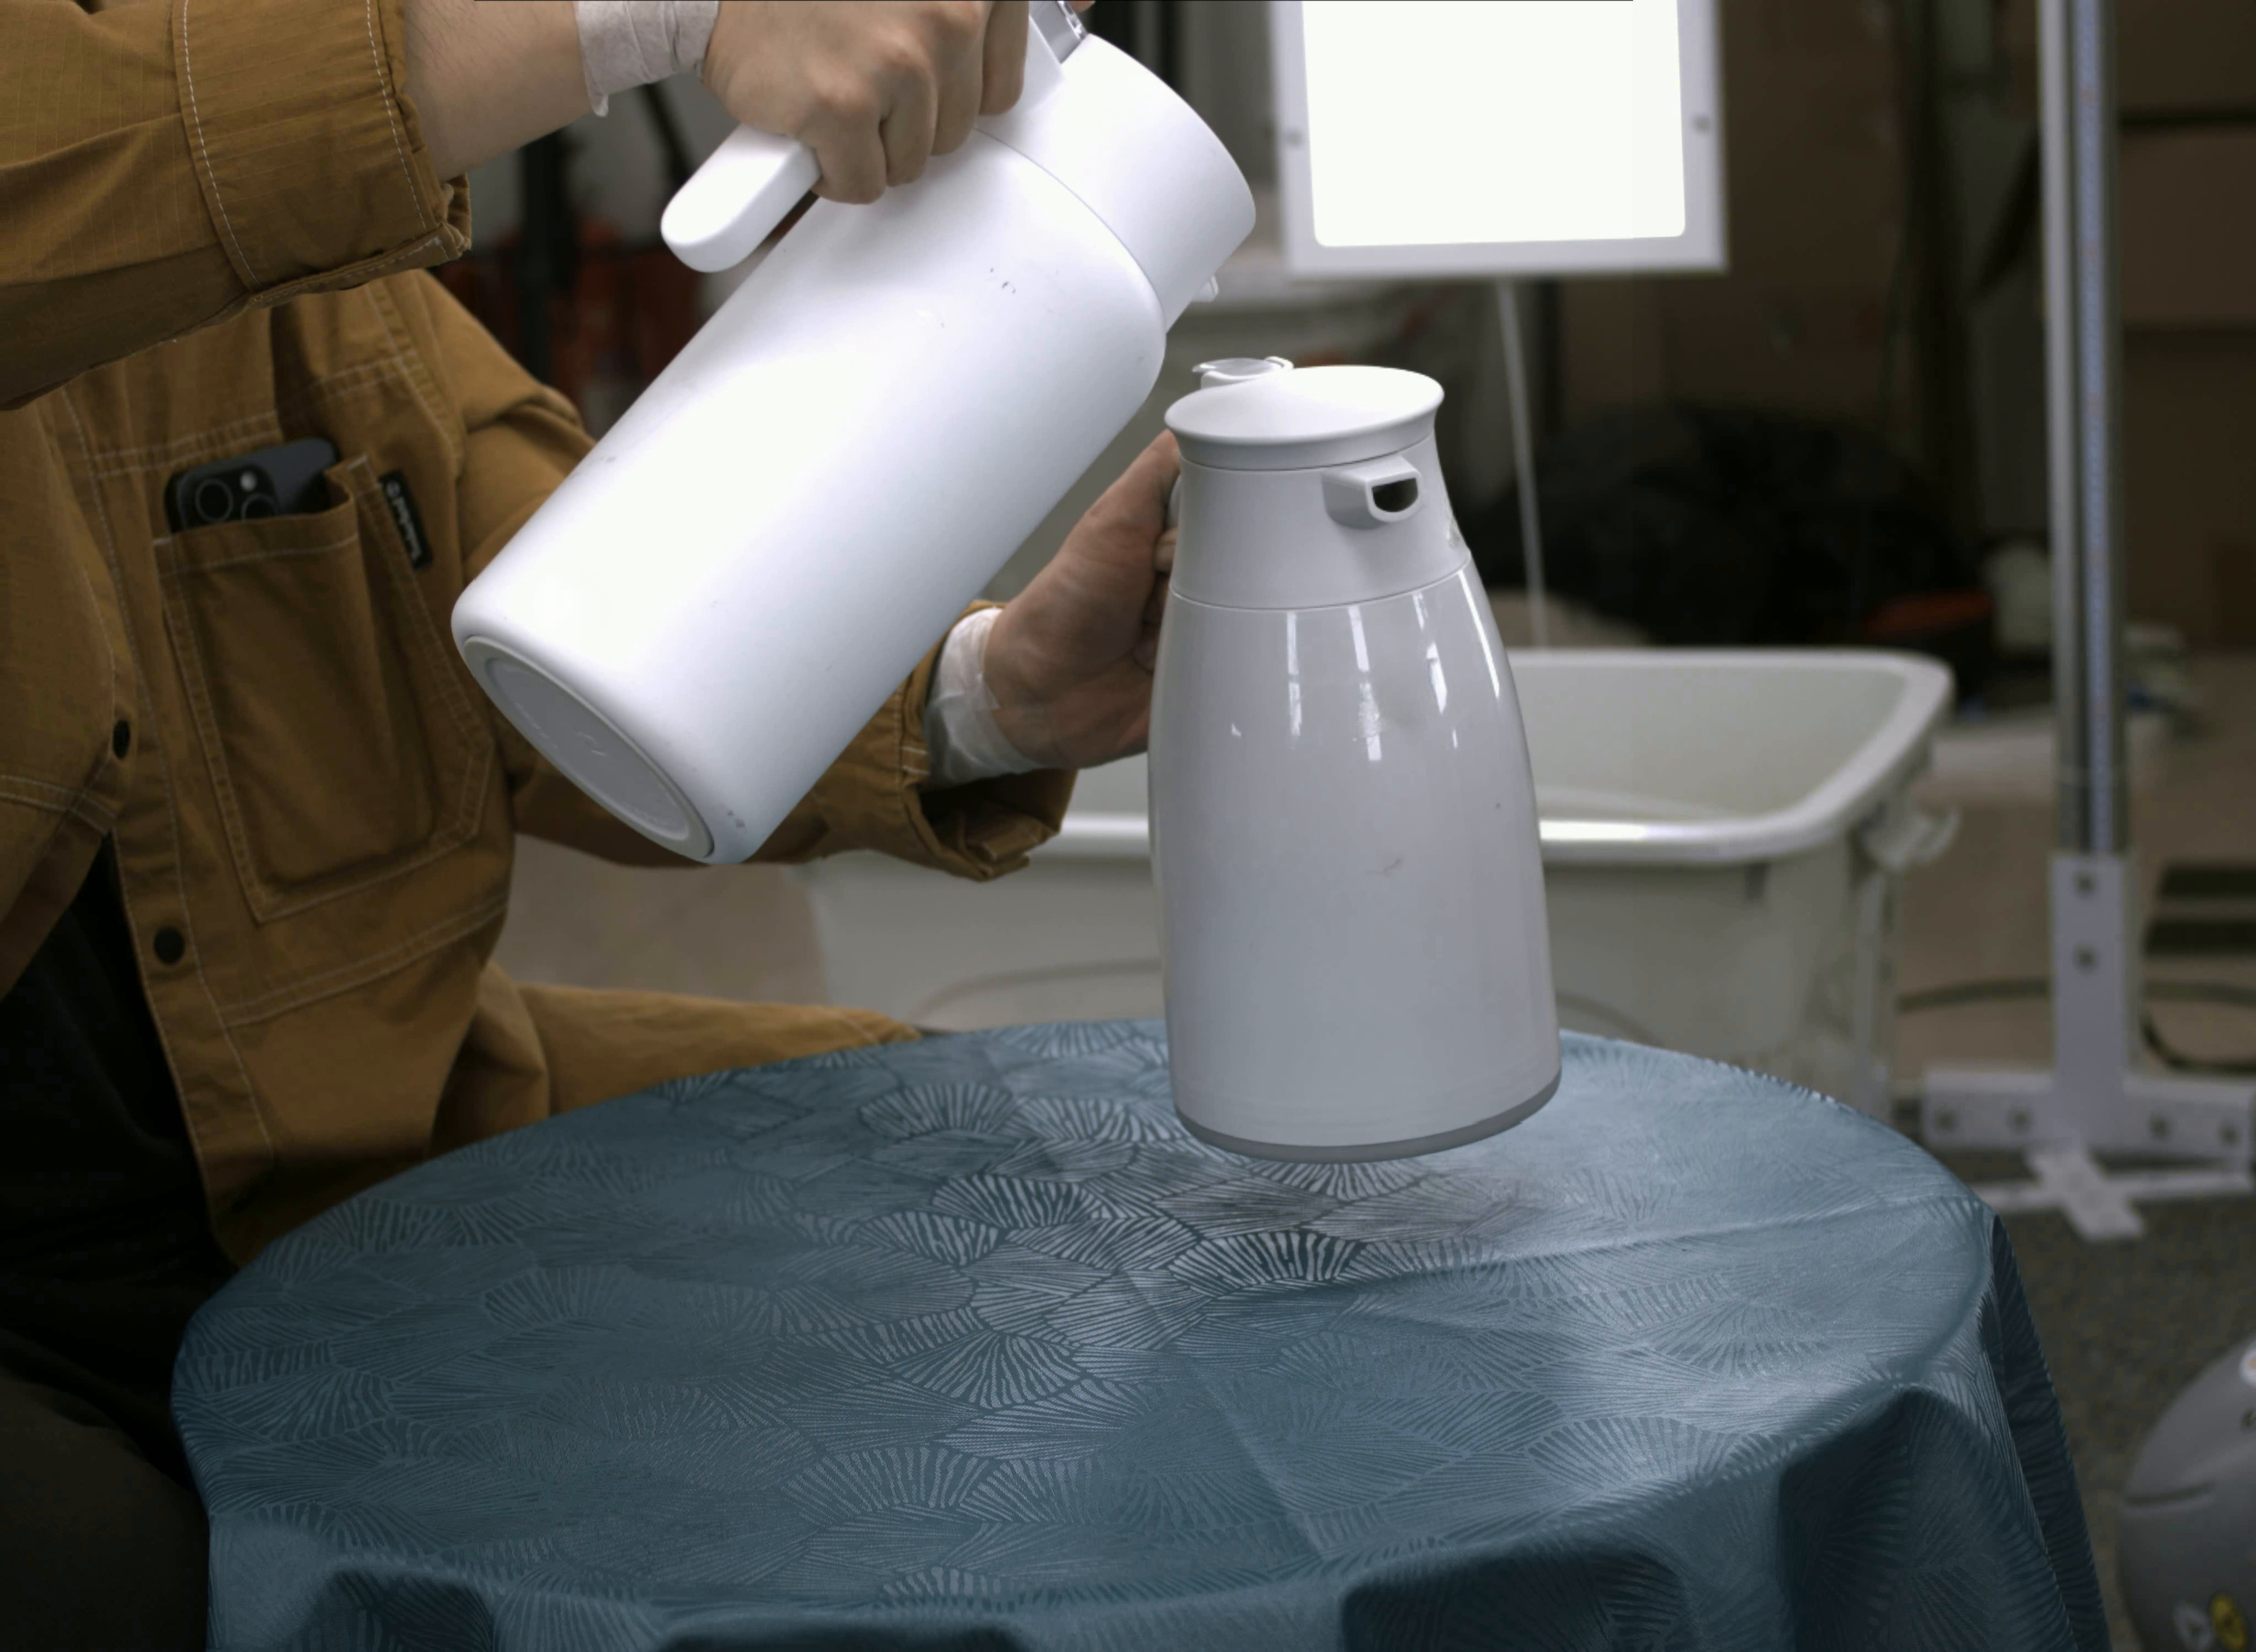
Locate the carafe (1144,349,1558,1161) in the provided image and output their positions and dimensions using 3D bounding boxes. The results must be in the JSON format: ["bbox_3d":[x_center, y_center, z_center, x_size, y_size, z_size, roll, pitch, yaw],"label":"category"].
[{"bbox_3d":[0.058,-0.032,1.828,0.130,0.249,0.170,-14,18,-22],"label":"carafe"}]

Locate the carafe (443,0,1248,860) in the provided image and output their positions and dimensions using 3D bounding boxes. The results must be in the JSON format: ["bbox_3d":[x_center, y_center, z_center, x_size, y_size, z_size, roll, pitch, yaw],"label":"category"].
[{"bbox_3d":[-0.089,-0.133,1.667,0.267,0.171,0.126,-48,42,-12],"label":"carafe"}]
